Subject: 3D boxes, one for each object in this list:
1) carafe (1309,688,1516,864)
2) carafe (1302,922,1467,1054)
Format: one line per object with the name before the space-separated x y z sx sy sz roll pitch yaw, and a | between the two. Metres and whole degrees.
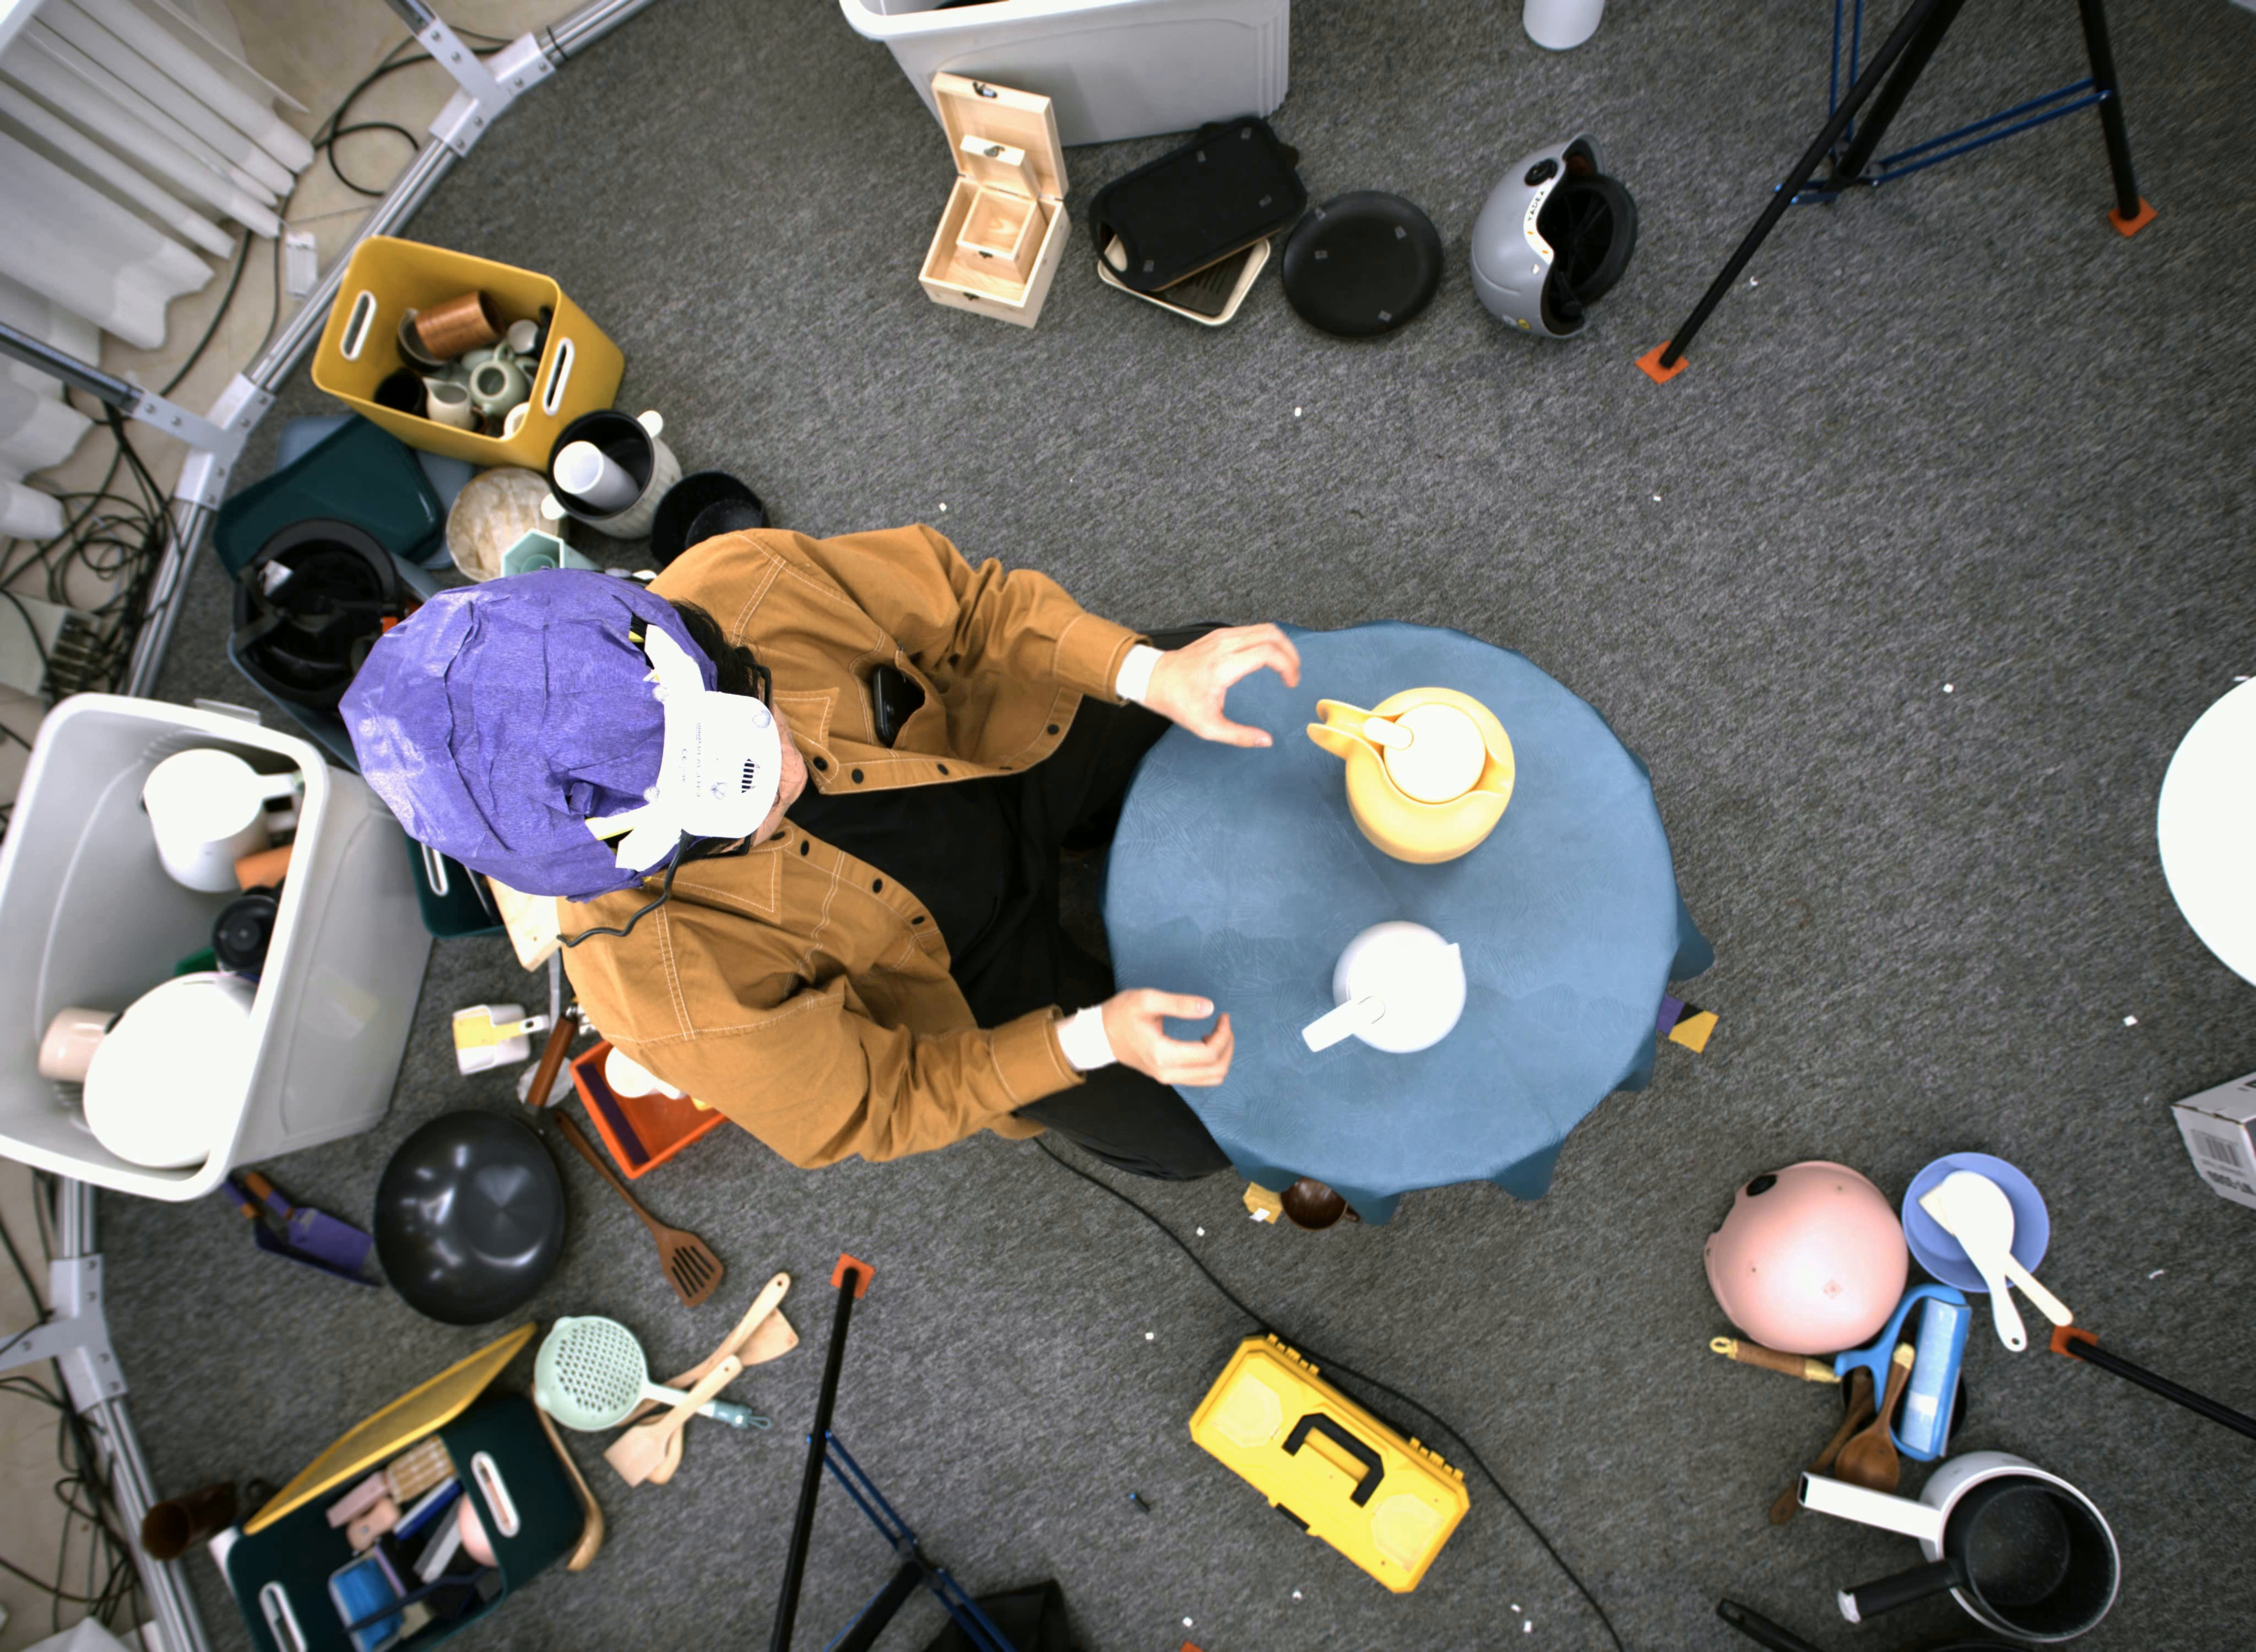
carafe | 0.275 -0.062 1.335 0.202 0.261 0.163 25 88 10
carafe | 0.246 0.166 1.335 0.169 0.249 0.131 -32 80 7
